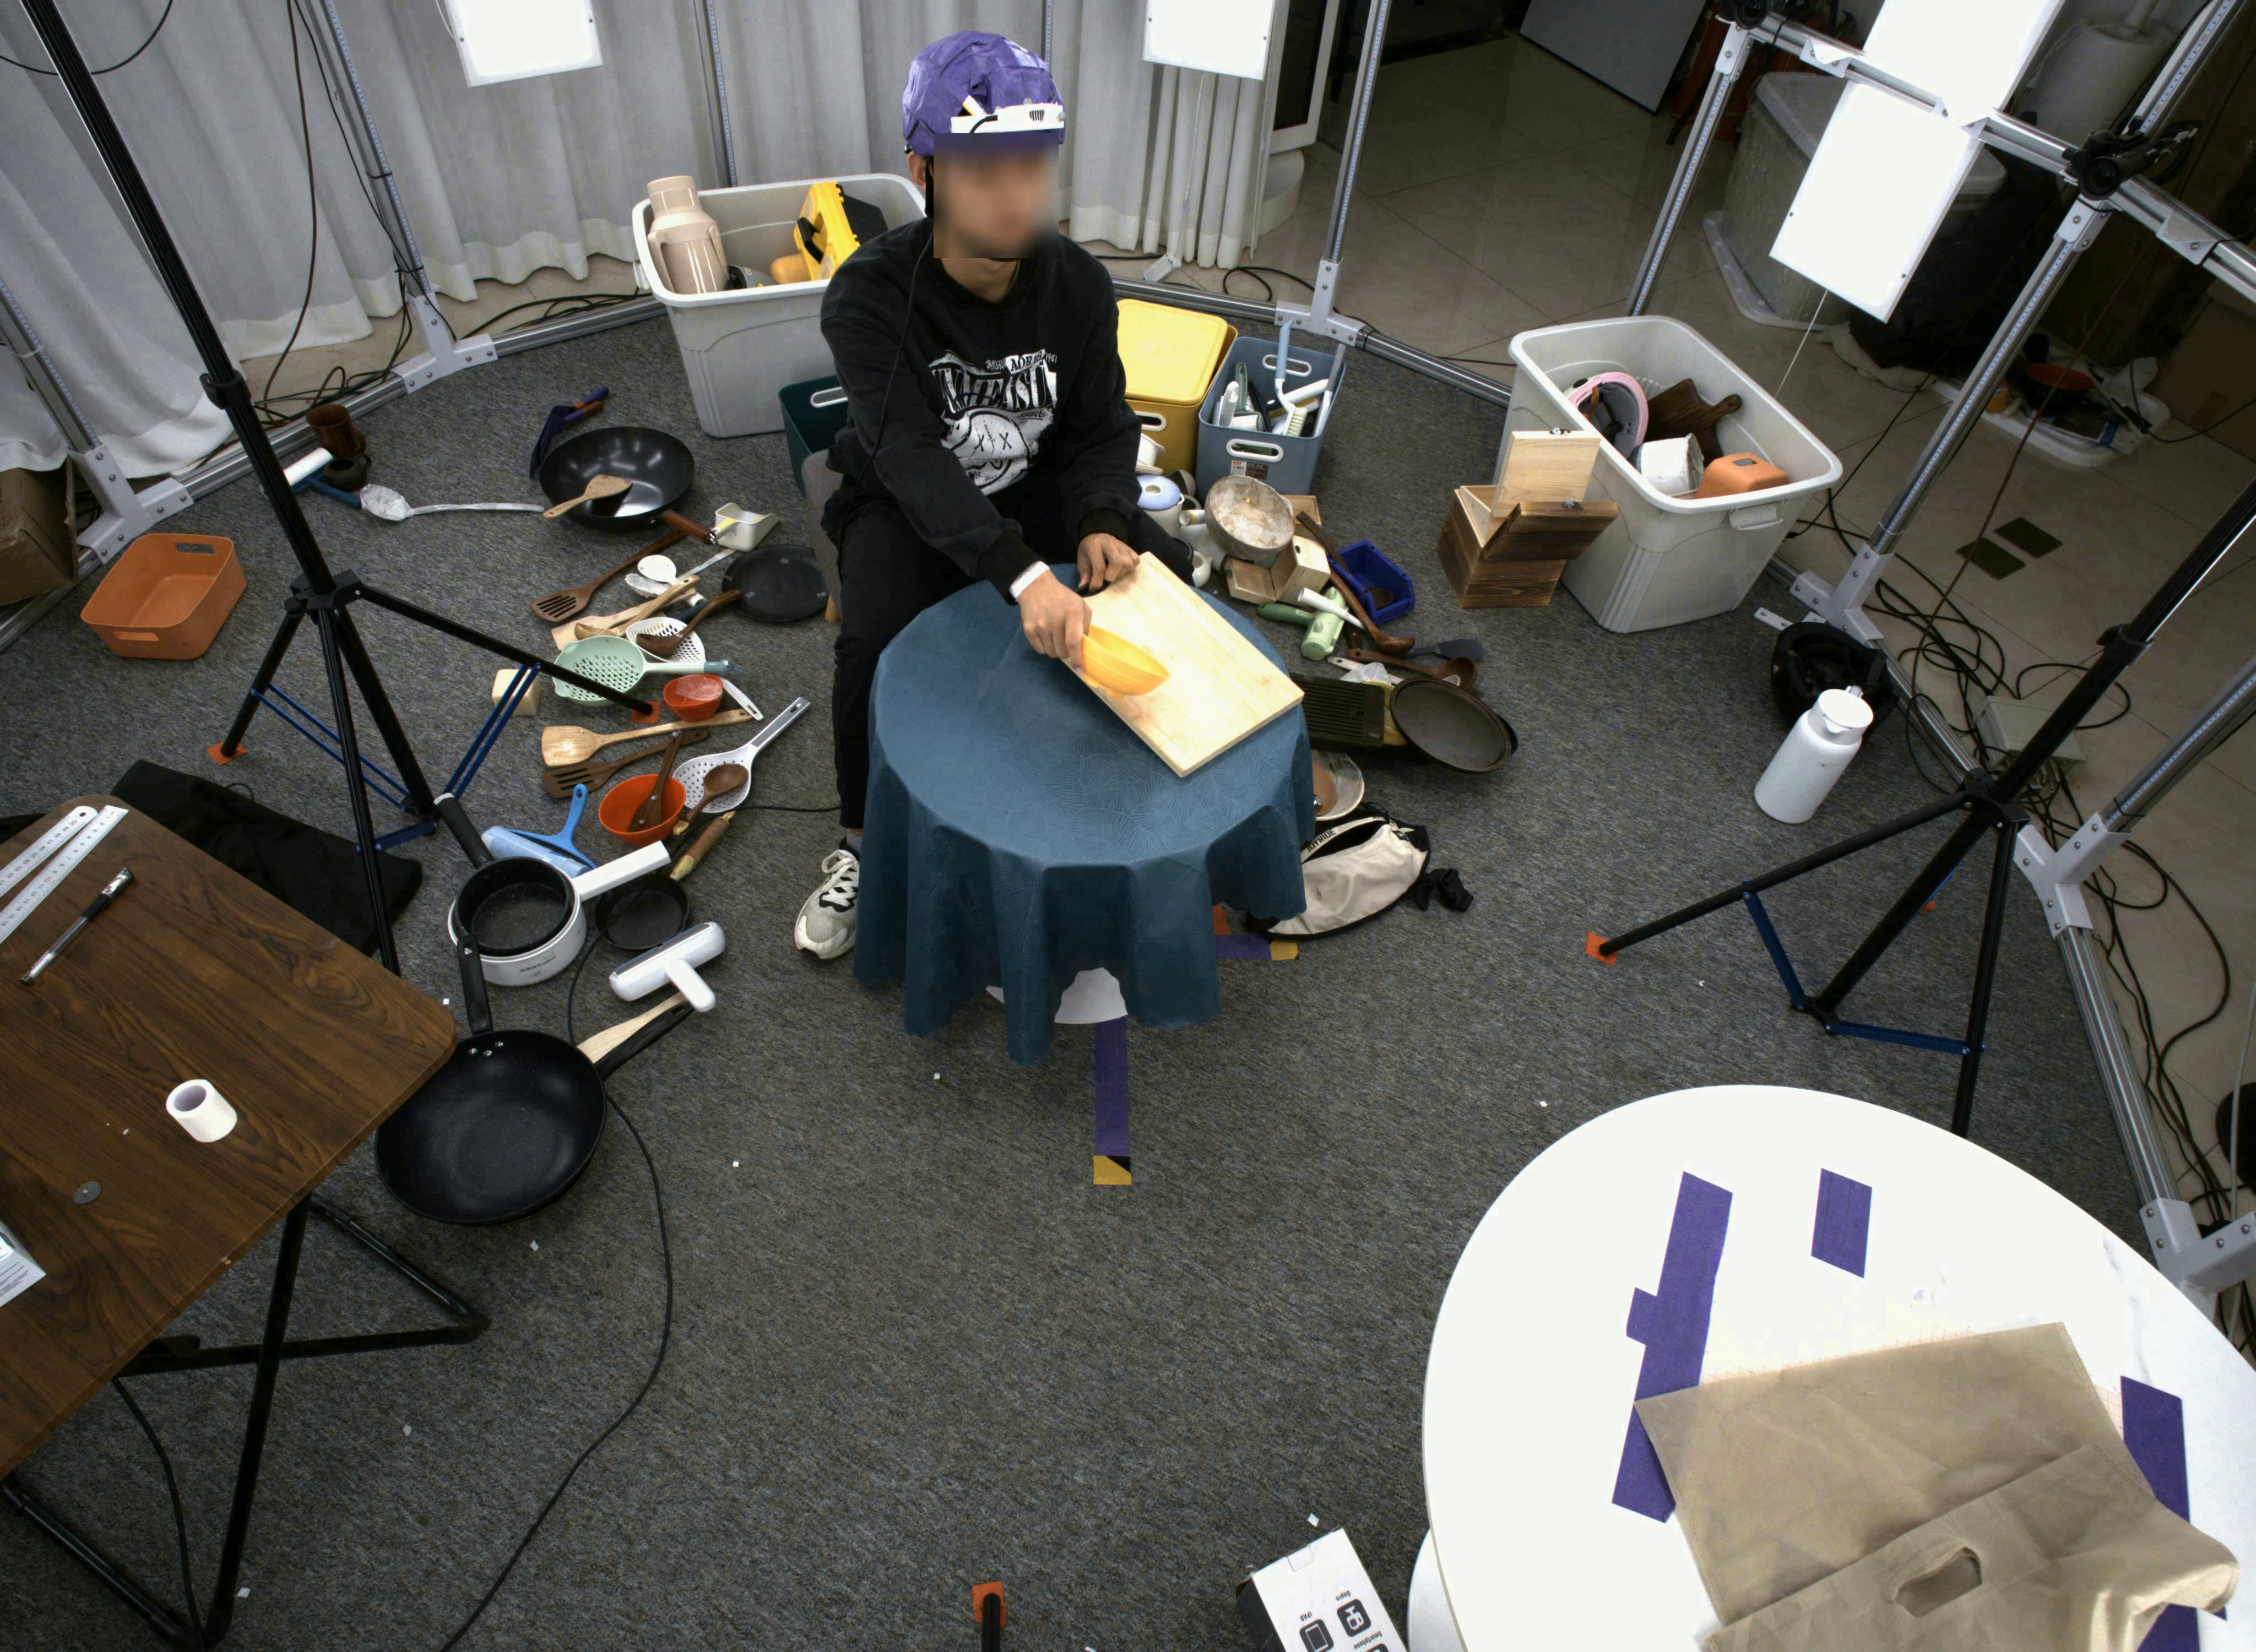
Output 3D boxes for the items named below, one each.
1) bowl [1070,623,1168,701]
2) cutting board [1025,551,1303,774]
[{"bbox_3d":[-0.022,-0.209,1.711,0.144,0.059,0.147,27,16,-8],"label":"bowl"},{"bbox_3d":[0.050,-0.245,1.864,0.252,0.023,0.354,-33,65,-28],"label":"cutting board"}]
